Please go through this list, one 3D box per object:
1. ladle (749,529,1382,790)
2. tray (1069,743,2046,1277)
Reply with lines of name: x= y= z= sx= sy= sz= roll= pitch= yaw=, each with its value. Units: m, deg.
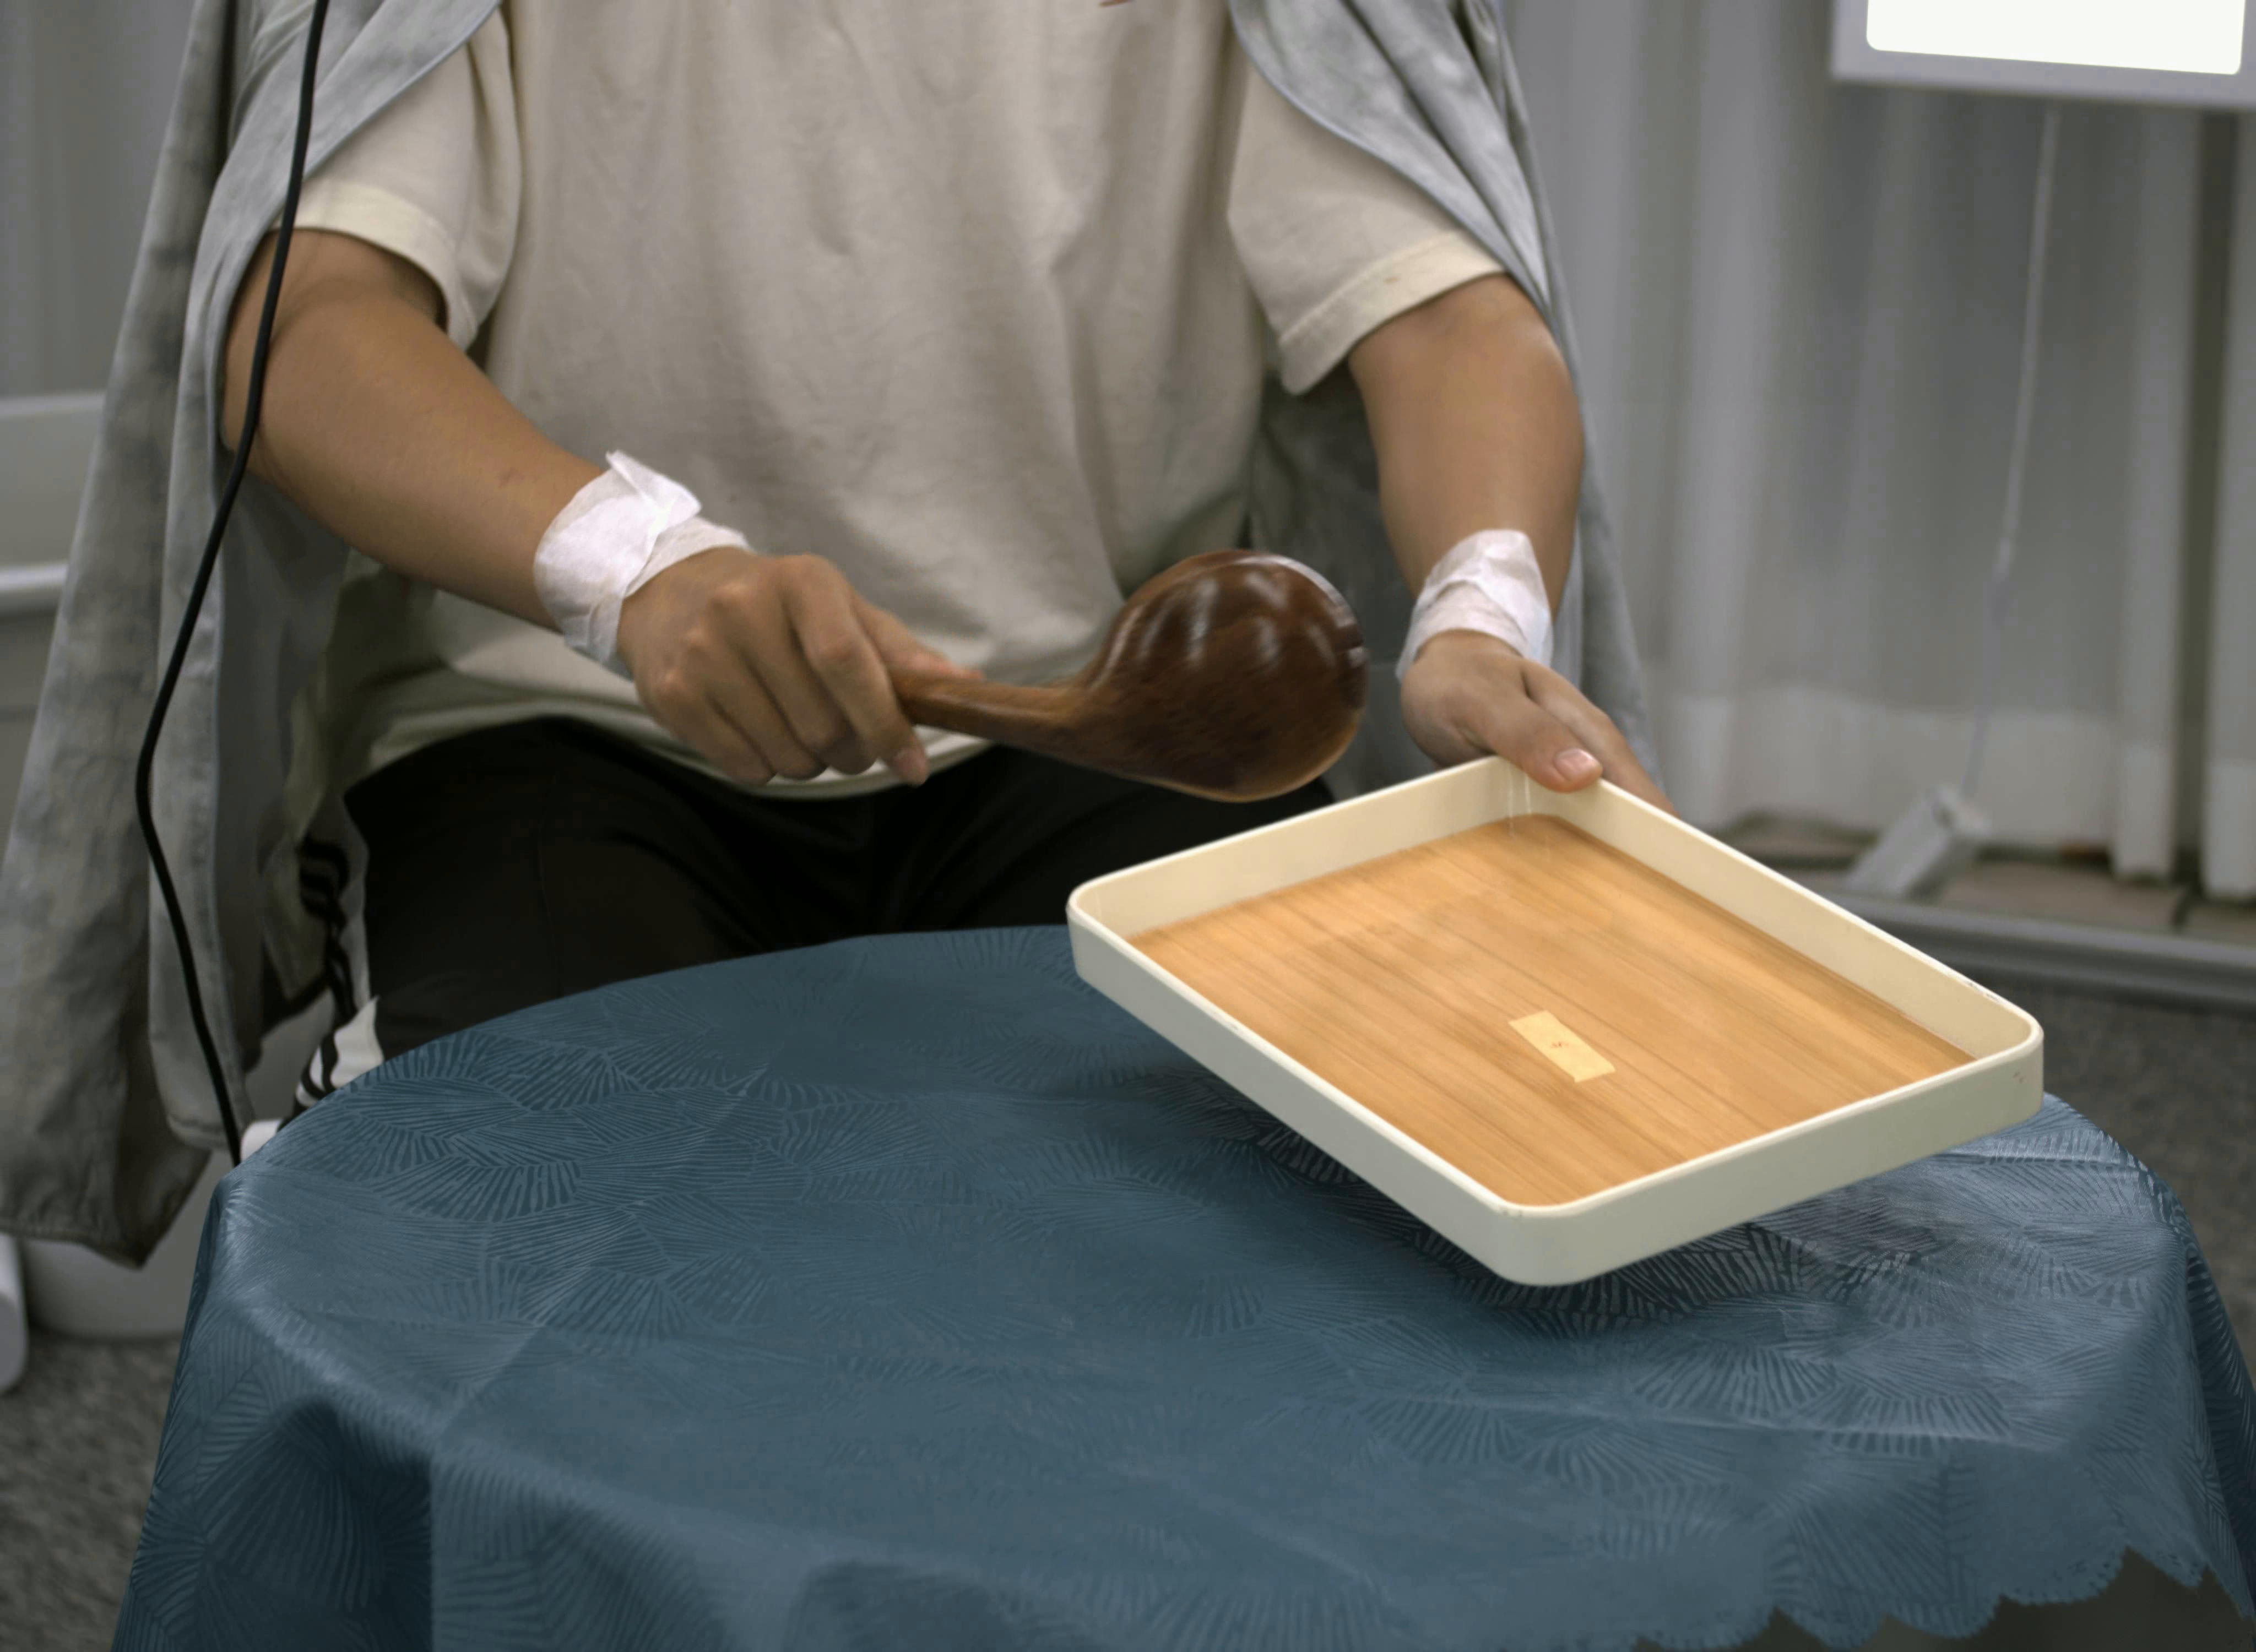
ladle: x=-0.023 y=-0.053 z=1.677 sx=0.076 sy=0.083 sz=0.271 roll=-33 pitch=20 yaw=-29
tray: x=0.128 y=0.051 z=1.646 sx=0.192 sy=0.028 sz=0.296 roll=-17 pitch=26 yaw=-23
